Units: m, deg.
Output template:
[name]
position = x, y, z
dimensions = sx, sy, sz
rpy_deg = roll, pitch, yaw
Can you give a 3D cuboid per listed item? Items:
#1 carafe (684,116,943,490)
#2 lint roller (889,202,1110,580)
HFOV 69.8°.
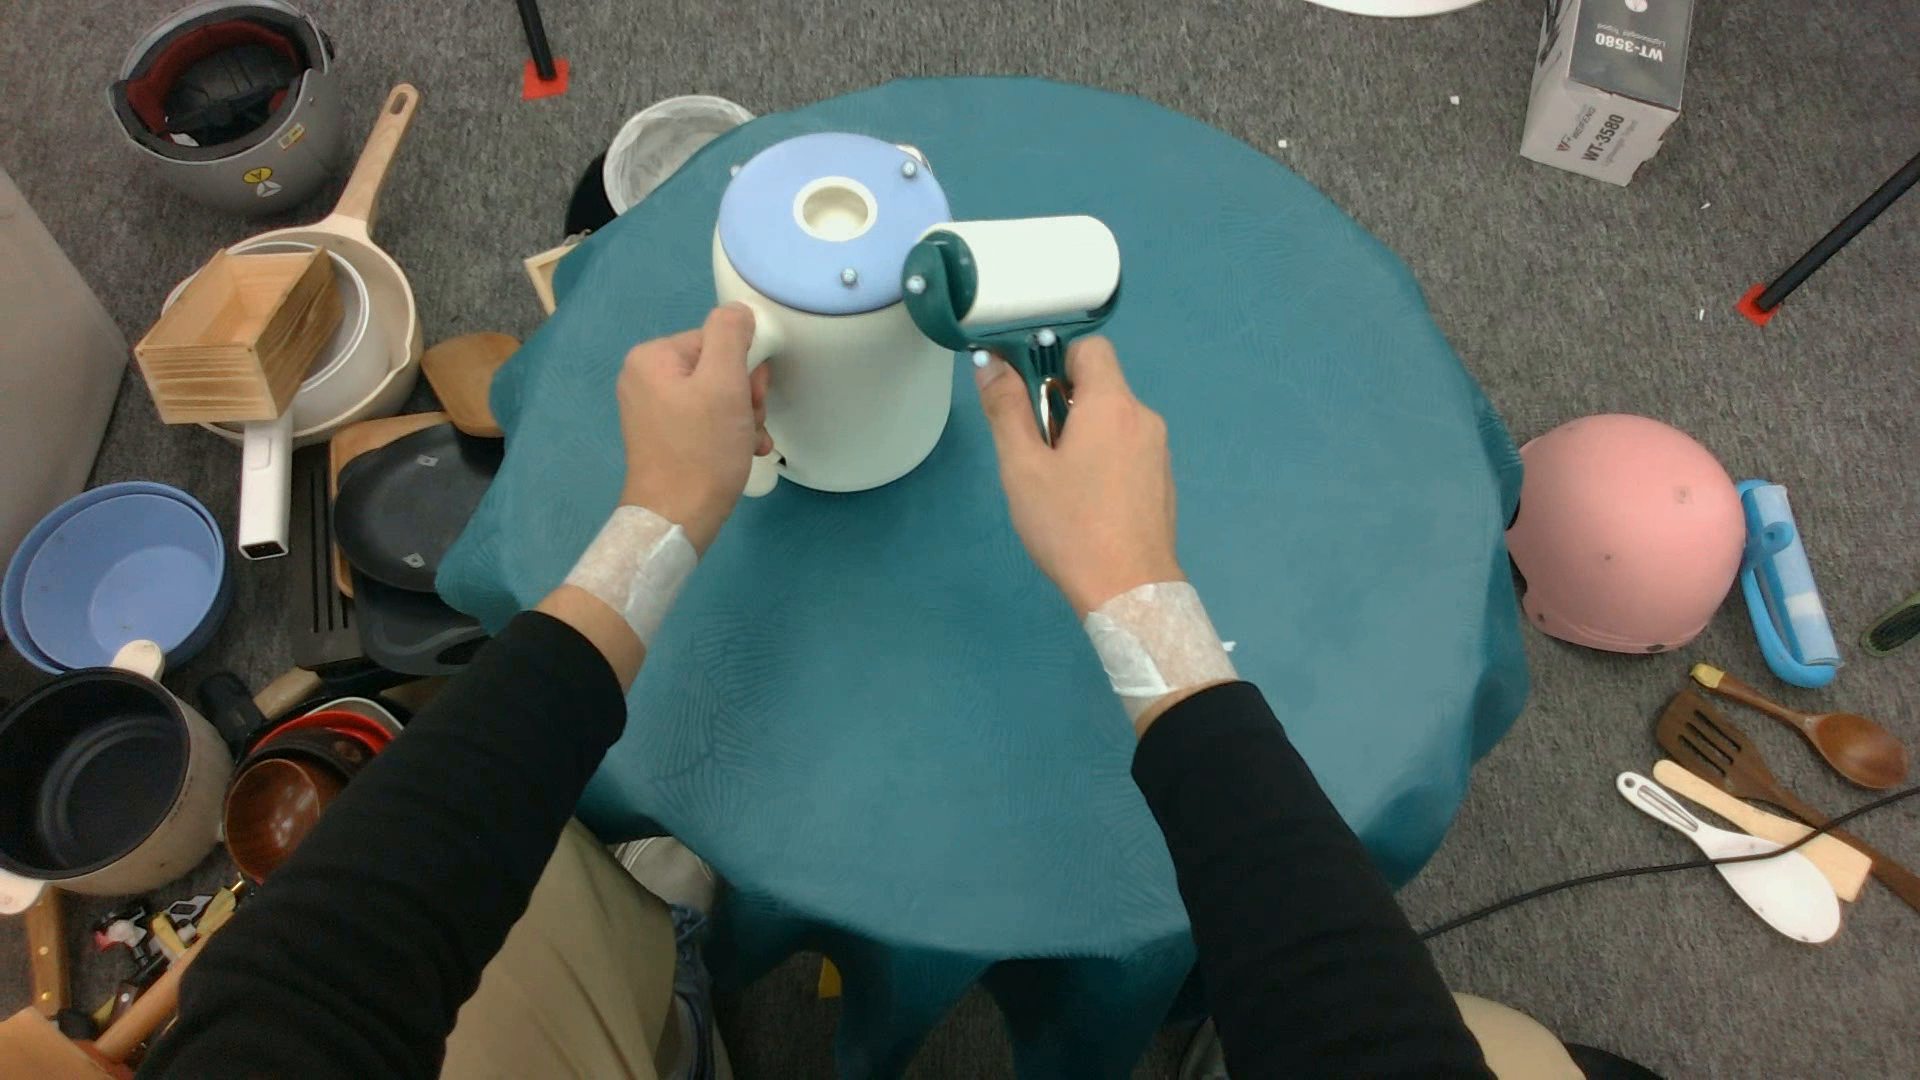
[carafe]
position = -0.089, -0.113, 0.760
dimensions = 0.132, 0.182, 0.192
rpy_deg = 31, 65, 13
[lint roller]
position = 0.042, -0.071, 0.648
dimensions = 0.135, 0.048, 0.180
rpy_deg = -18, 87, -44
